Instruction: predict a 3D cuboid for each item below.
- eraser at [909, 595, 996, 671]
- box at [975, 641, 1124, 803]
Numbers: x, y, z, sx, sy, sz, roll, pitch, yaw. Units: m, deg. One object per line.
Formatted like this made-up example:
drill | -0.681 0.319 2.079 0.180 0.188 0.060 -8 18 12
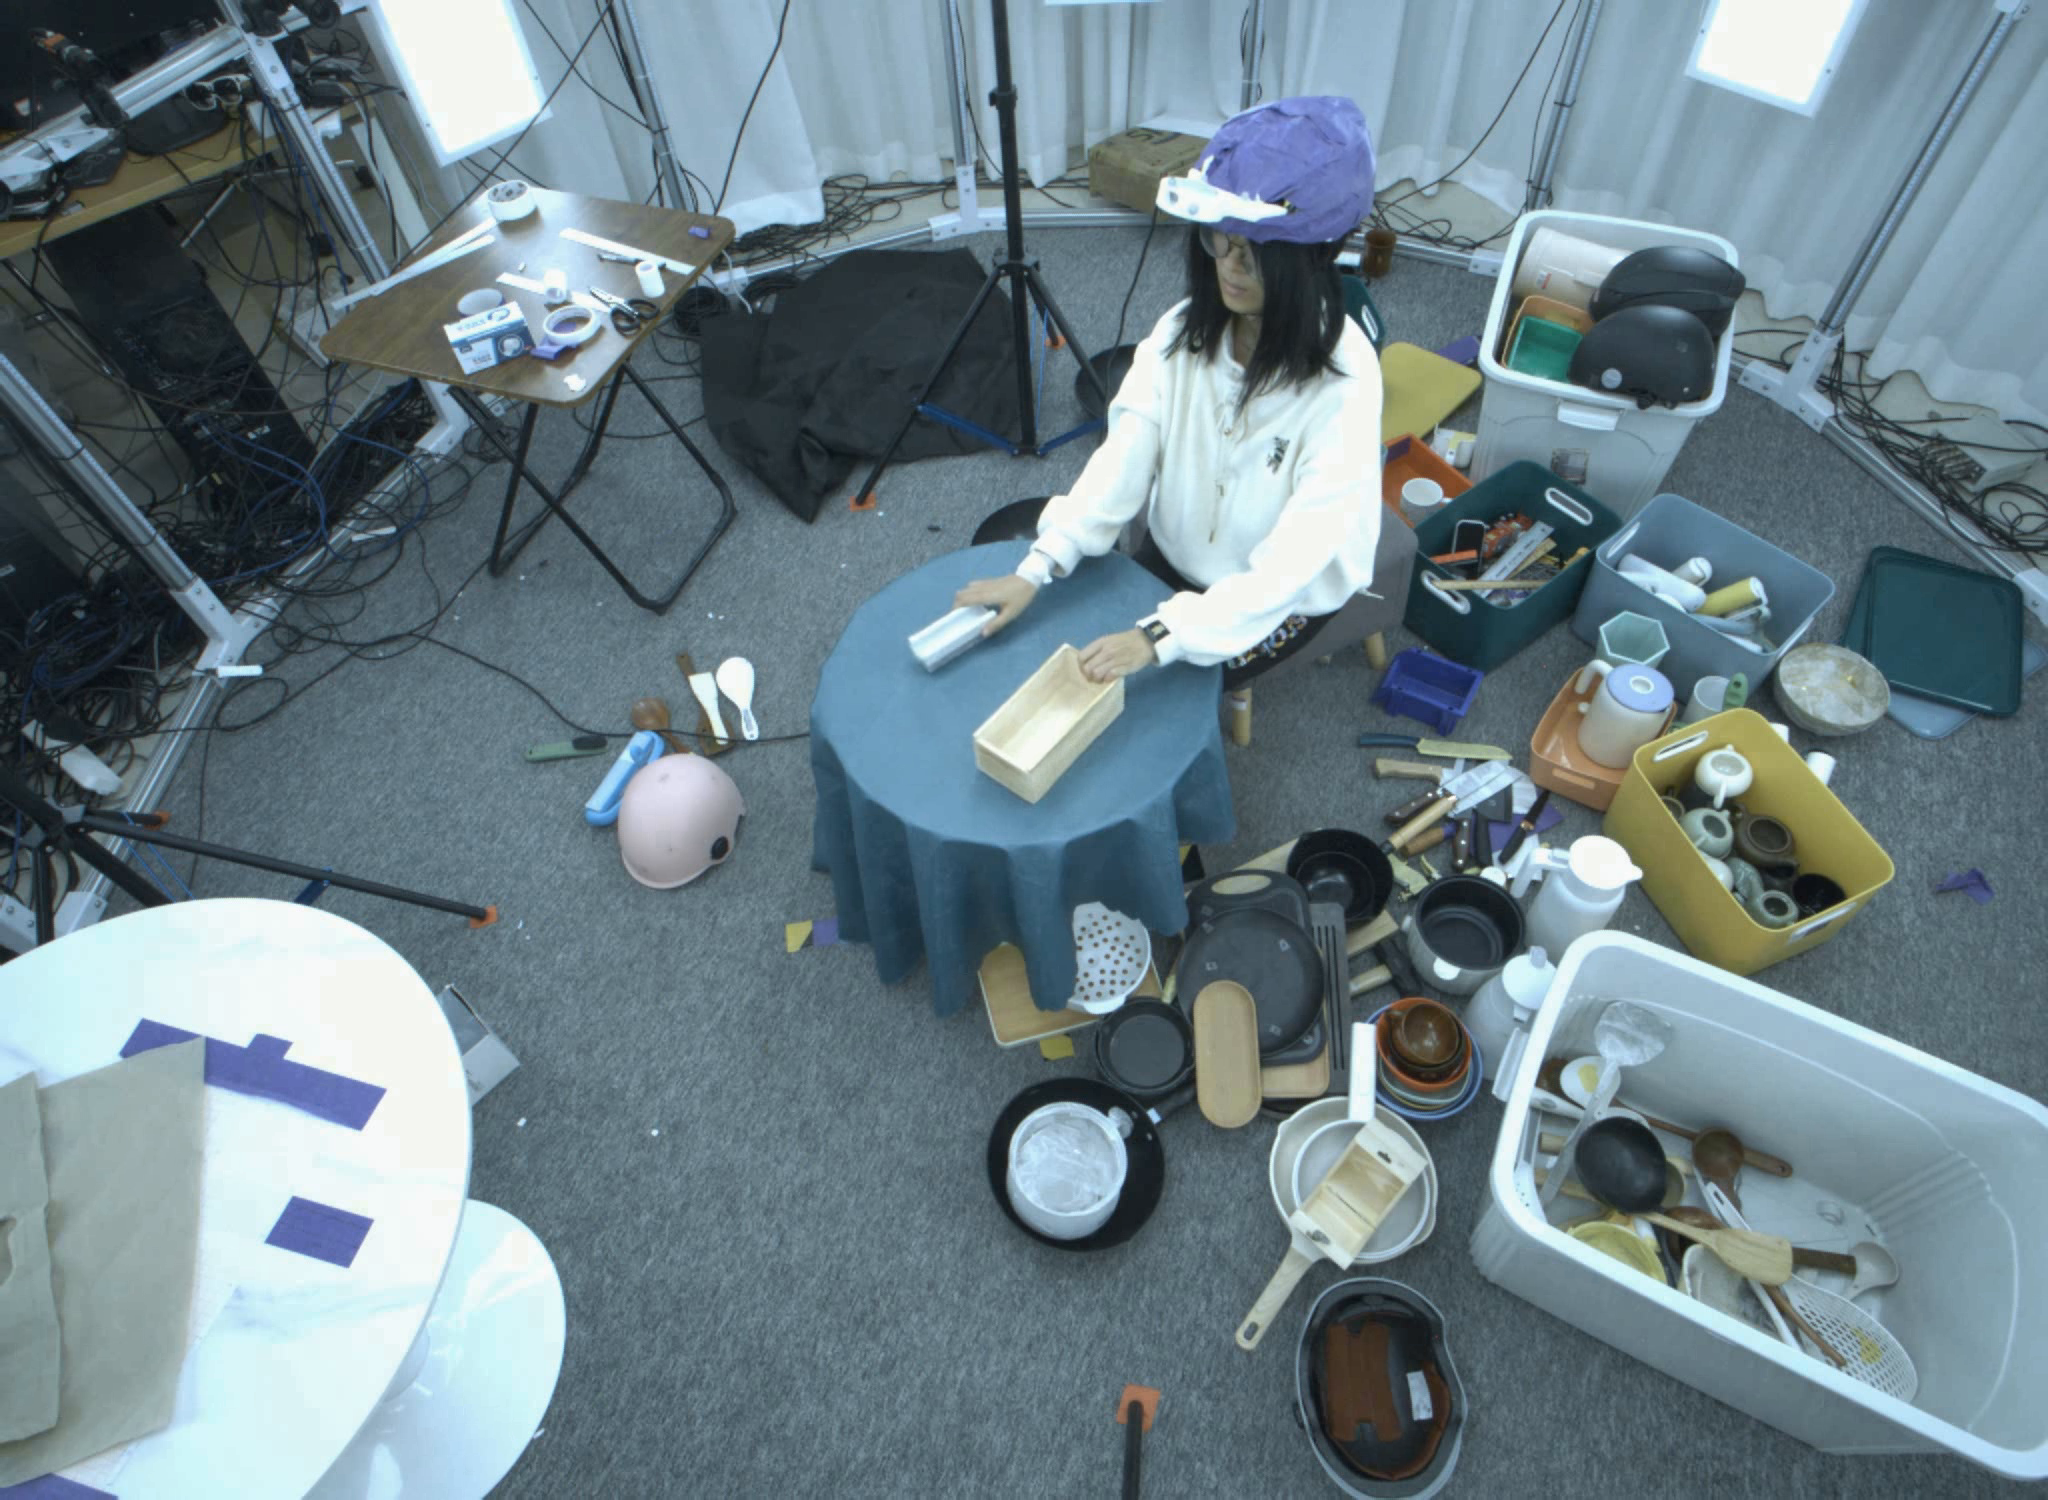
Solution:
eraser | -0.109 -0.179 1.889 0.135 0.047 0.049 -37 59 -20
box | 0.039 -0.042 1.764 0.106 0.081 0.212 32 64 21
